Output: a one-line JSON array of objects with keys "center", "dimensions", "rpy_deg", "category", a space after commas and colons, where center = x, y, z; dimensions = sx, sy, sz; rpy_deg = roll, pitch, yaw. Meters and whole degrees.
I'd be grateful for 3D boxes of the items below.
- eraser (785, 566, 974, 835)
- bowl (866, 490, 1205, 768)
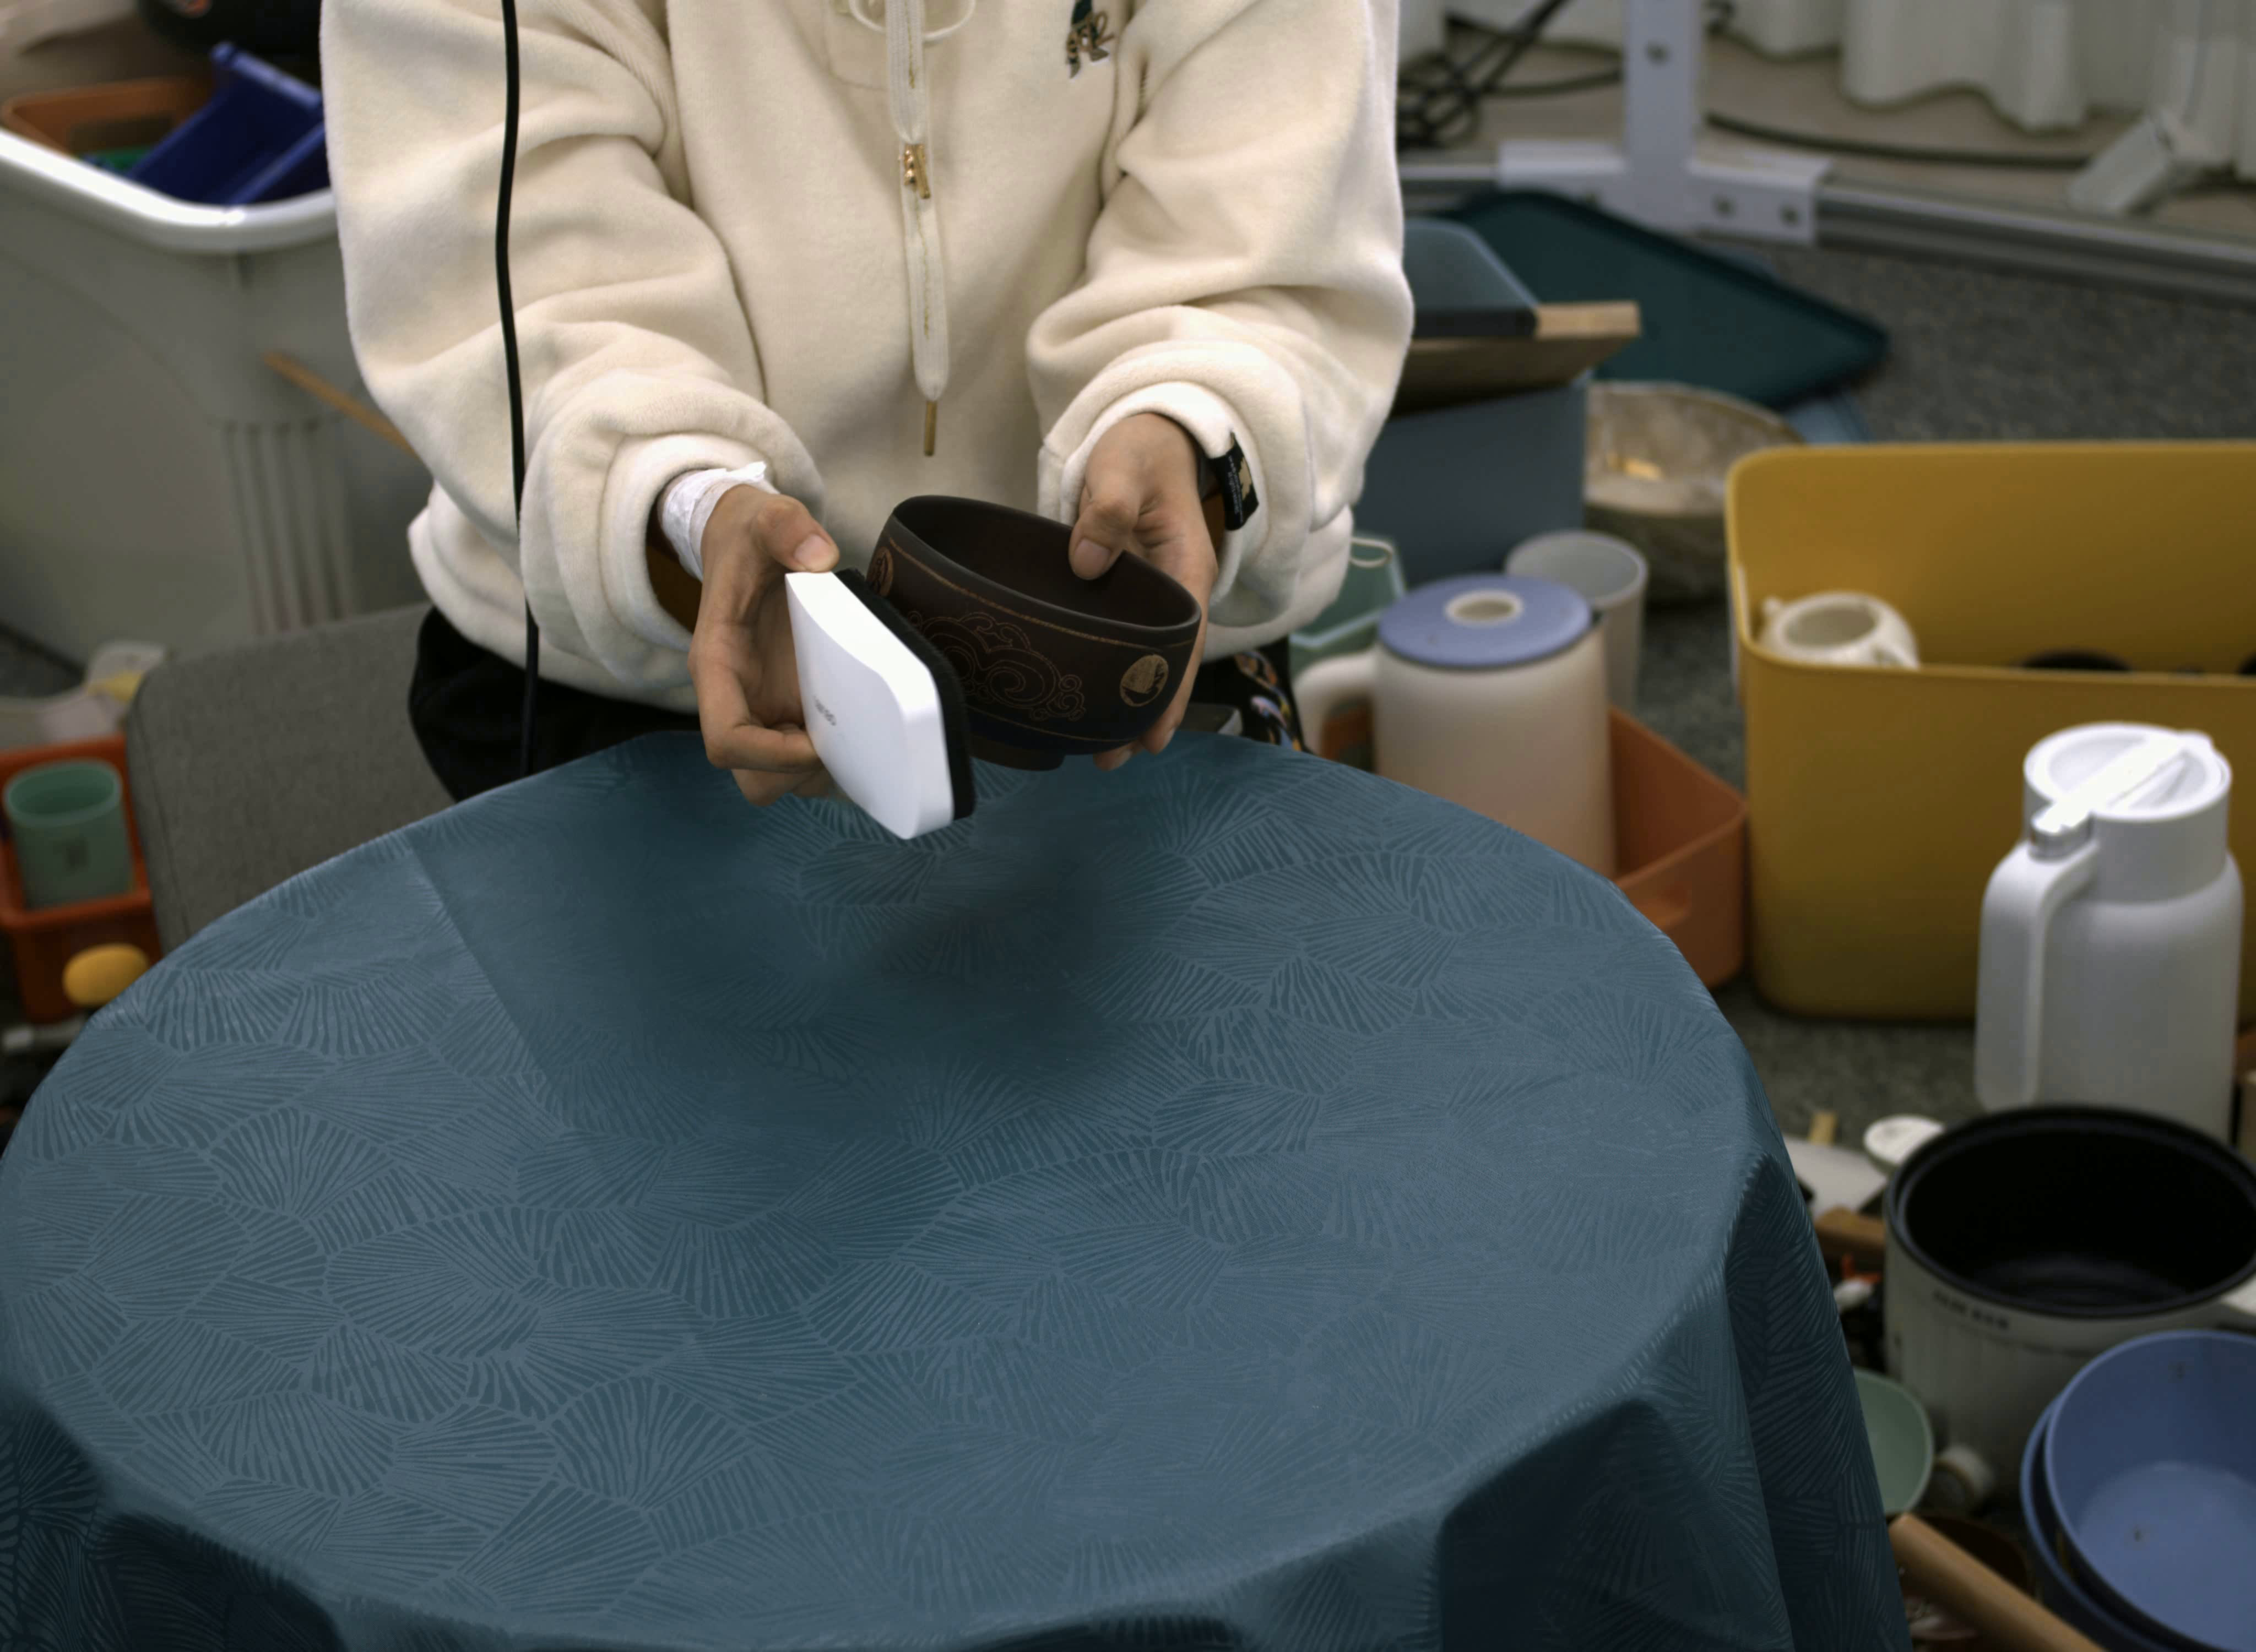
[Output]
[{"center": [-0.088, -0.045, 1.897], "dimensions": [0.034, 0.063, 0.132], "rpy_deg": [-12, 24, -18], "category": "eraser"}, {"center": [-0.038, -0.063, 1.961], "dimensions": [0.117, 0.069, 0.119], "rpy_deg": [21, 14, -5], "category": "bowl"}]
